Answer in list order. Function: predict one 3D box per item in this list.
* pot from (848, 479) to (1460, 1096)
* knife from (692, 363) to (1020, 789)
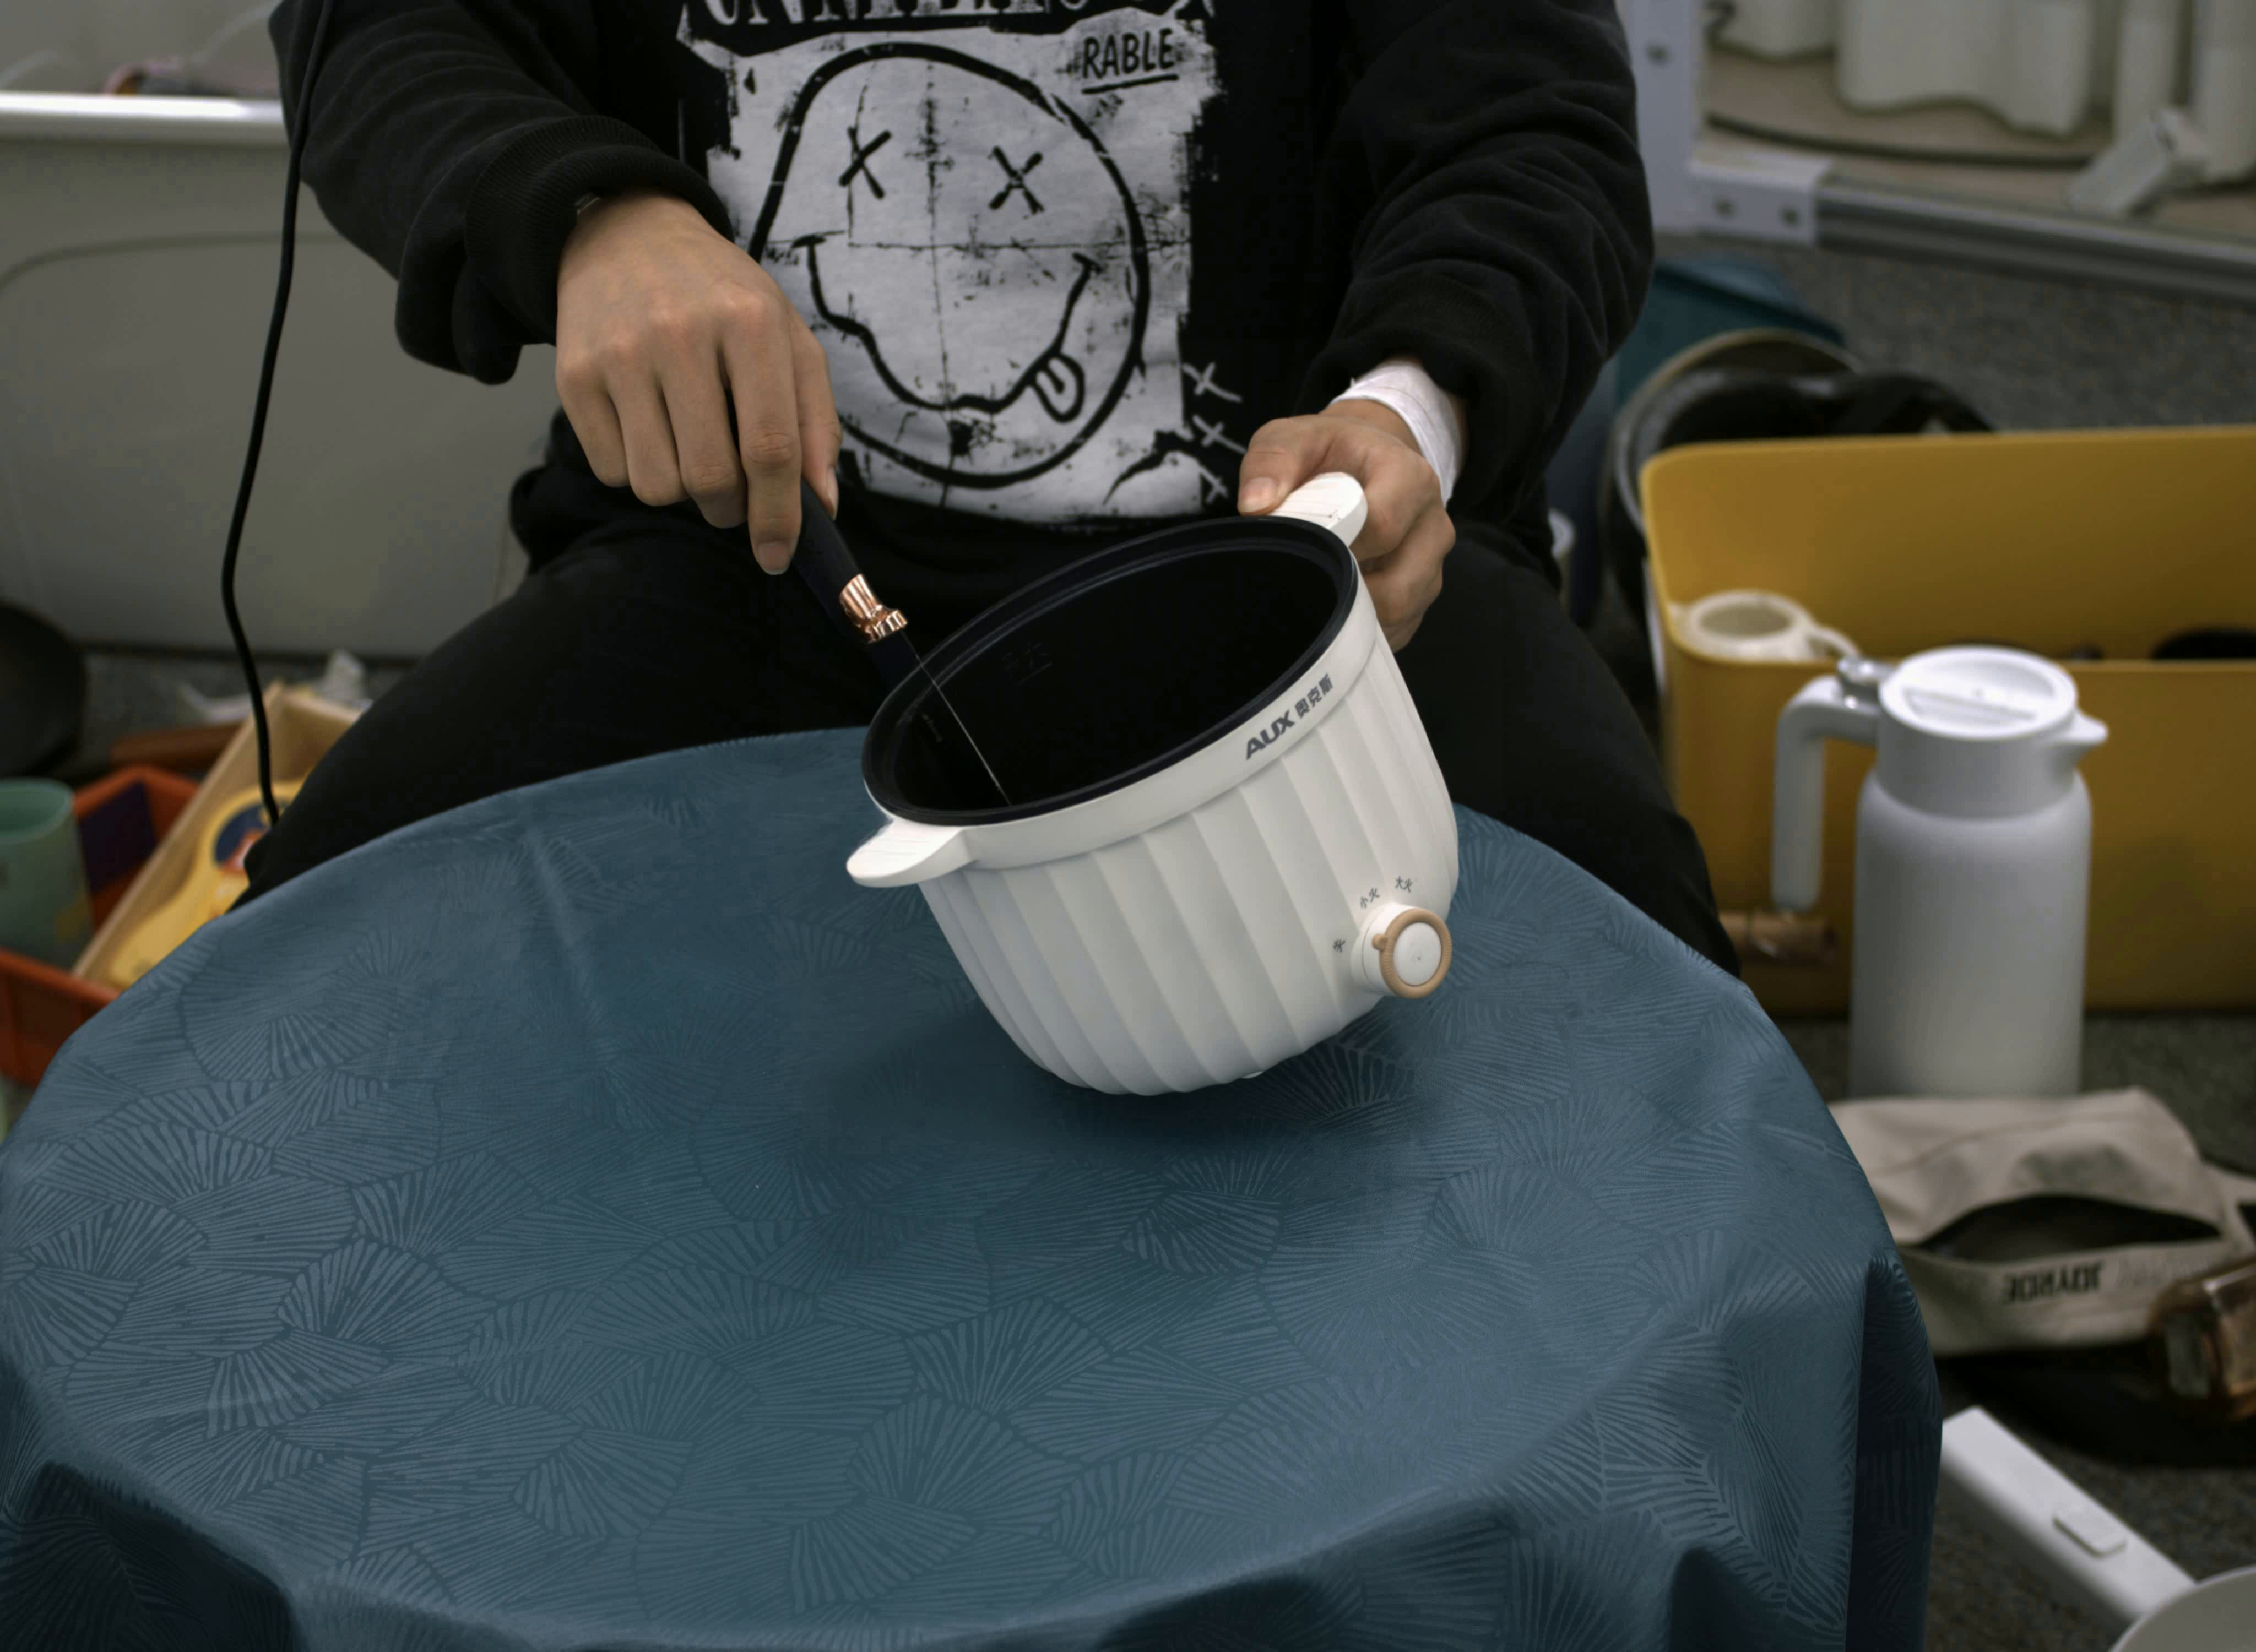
[{"bbox_3d":[0.023,-0.001,1.906,0.244,0.141,0.189,-41,25,-29],"label":"pot"},{"bbox_3d":[-0.081,-0.063,1.916,0.026,0.226,0.017,-35,-1,37],"label":"knife"}]
